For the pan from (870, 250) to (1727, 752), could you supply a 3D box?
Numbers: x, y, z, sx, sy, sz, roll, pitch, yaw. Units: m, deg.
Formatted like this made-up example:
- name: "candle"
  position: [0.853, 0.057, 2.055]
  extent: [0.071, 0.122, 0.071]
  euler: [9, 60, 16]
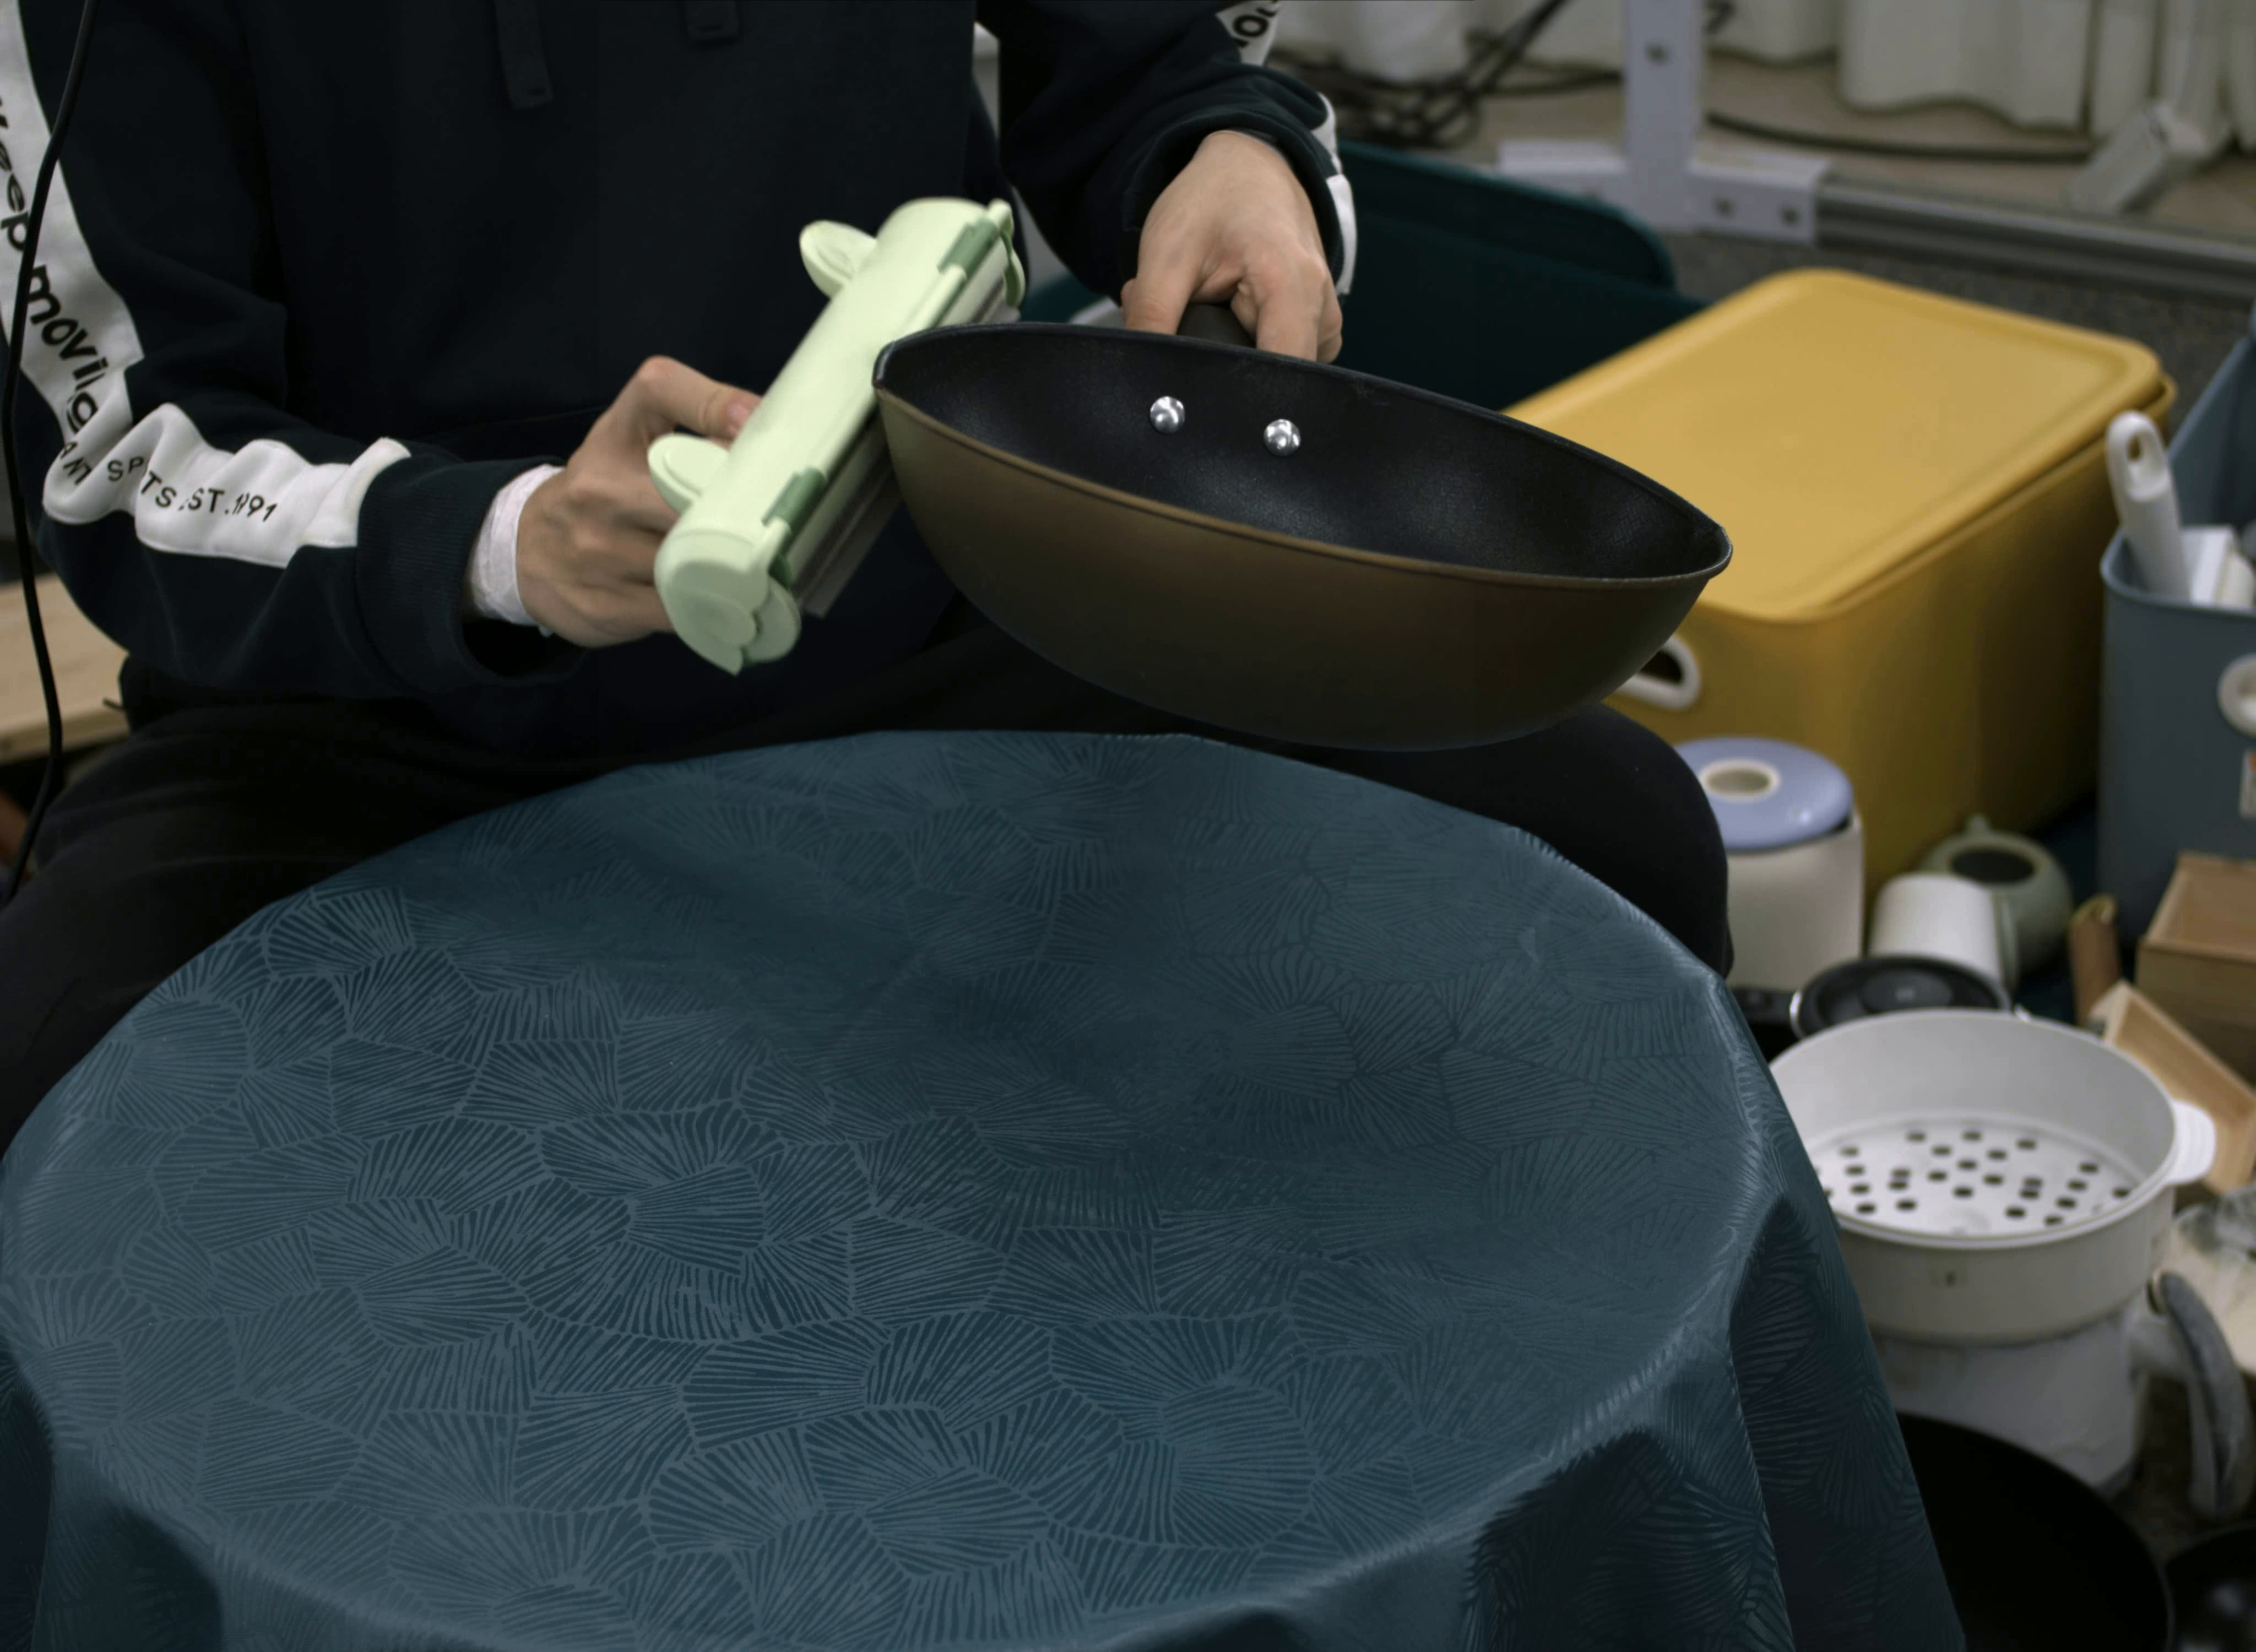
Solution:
- name: "pan"
  position: [0.034, -0.115, 1.914]
  extent: [0.287, 0.086, 0.467]
  euler: [10, 15, -13]

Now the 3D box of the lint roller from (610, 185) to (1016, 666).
- name: "lint roller"
  position: [-0.136, -0.127, 1.913]
  extent: [0.180, 0.082, 0.202]
  euler: [-22, 28, 43]
